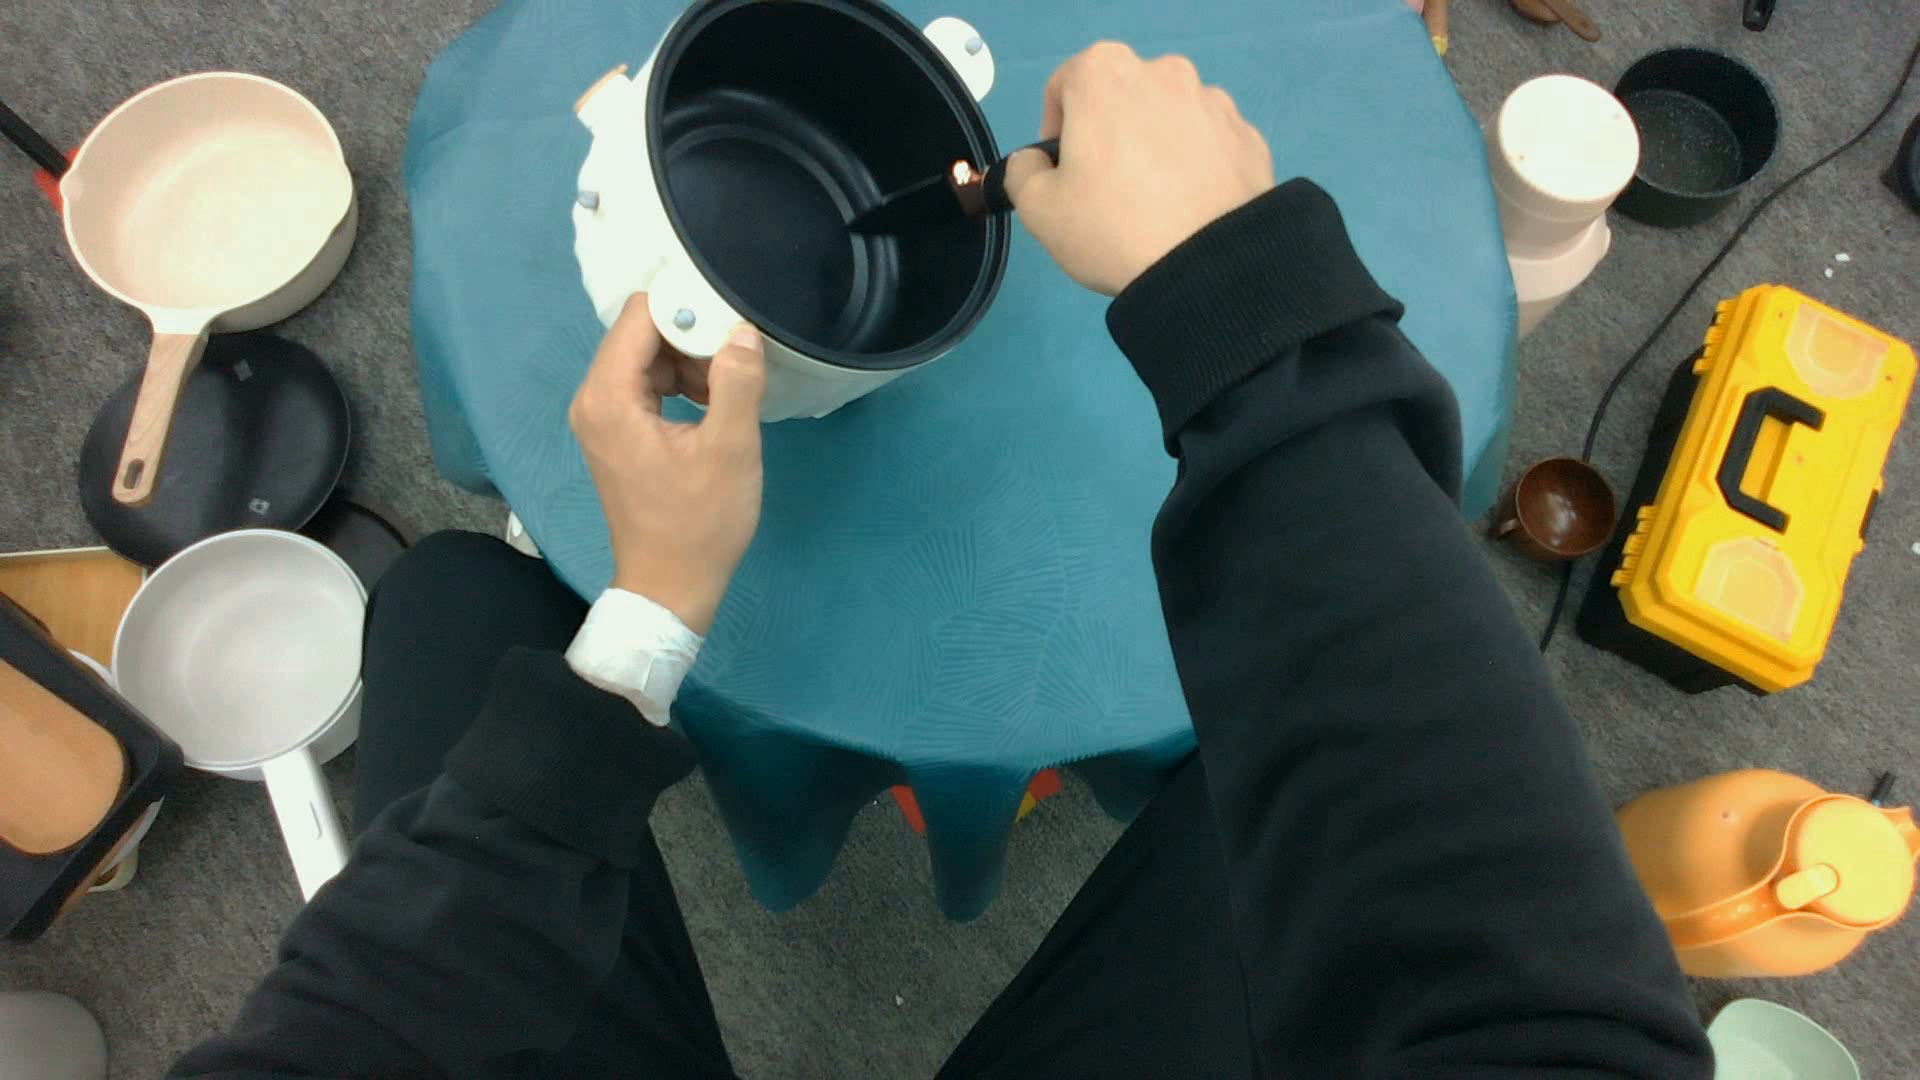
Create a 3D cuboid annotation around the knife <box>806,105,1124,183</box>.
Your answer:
[{"bbox_3d":[-0.008,-0.168,0.603,0.026,0.225,0.017,37,76,-33],"label":"knife"}]

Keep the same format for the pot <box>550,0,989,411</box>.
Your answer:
[{"bbox_3d":[-0.102,-0.158,0.659,0.190,0.142,0.241,49,55,-20],"label":"pot"}]
